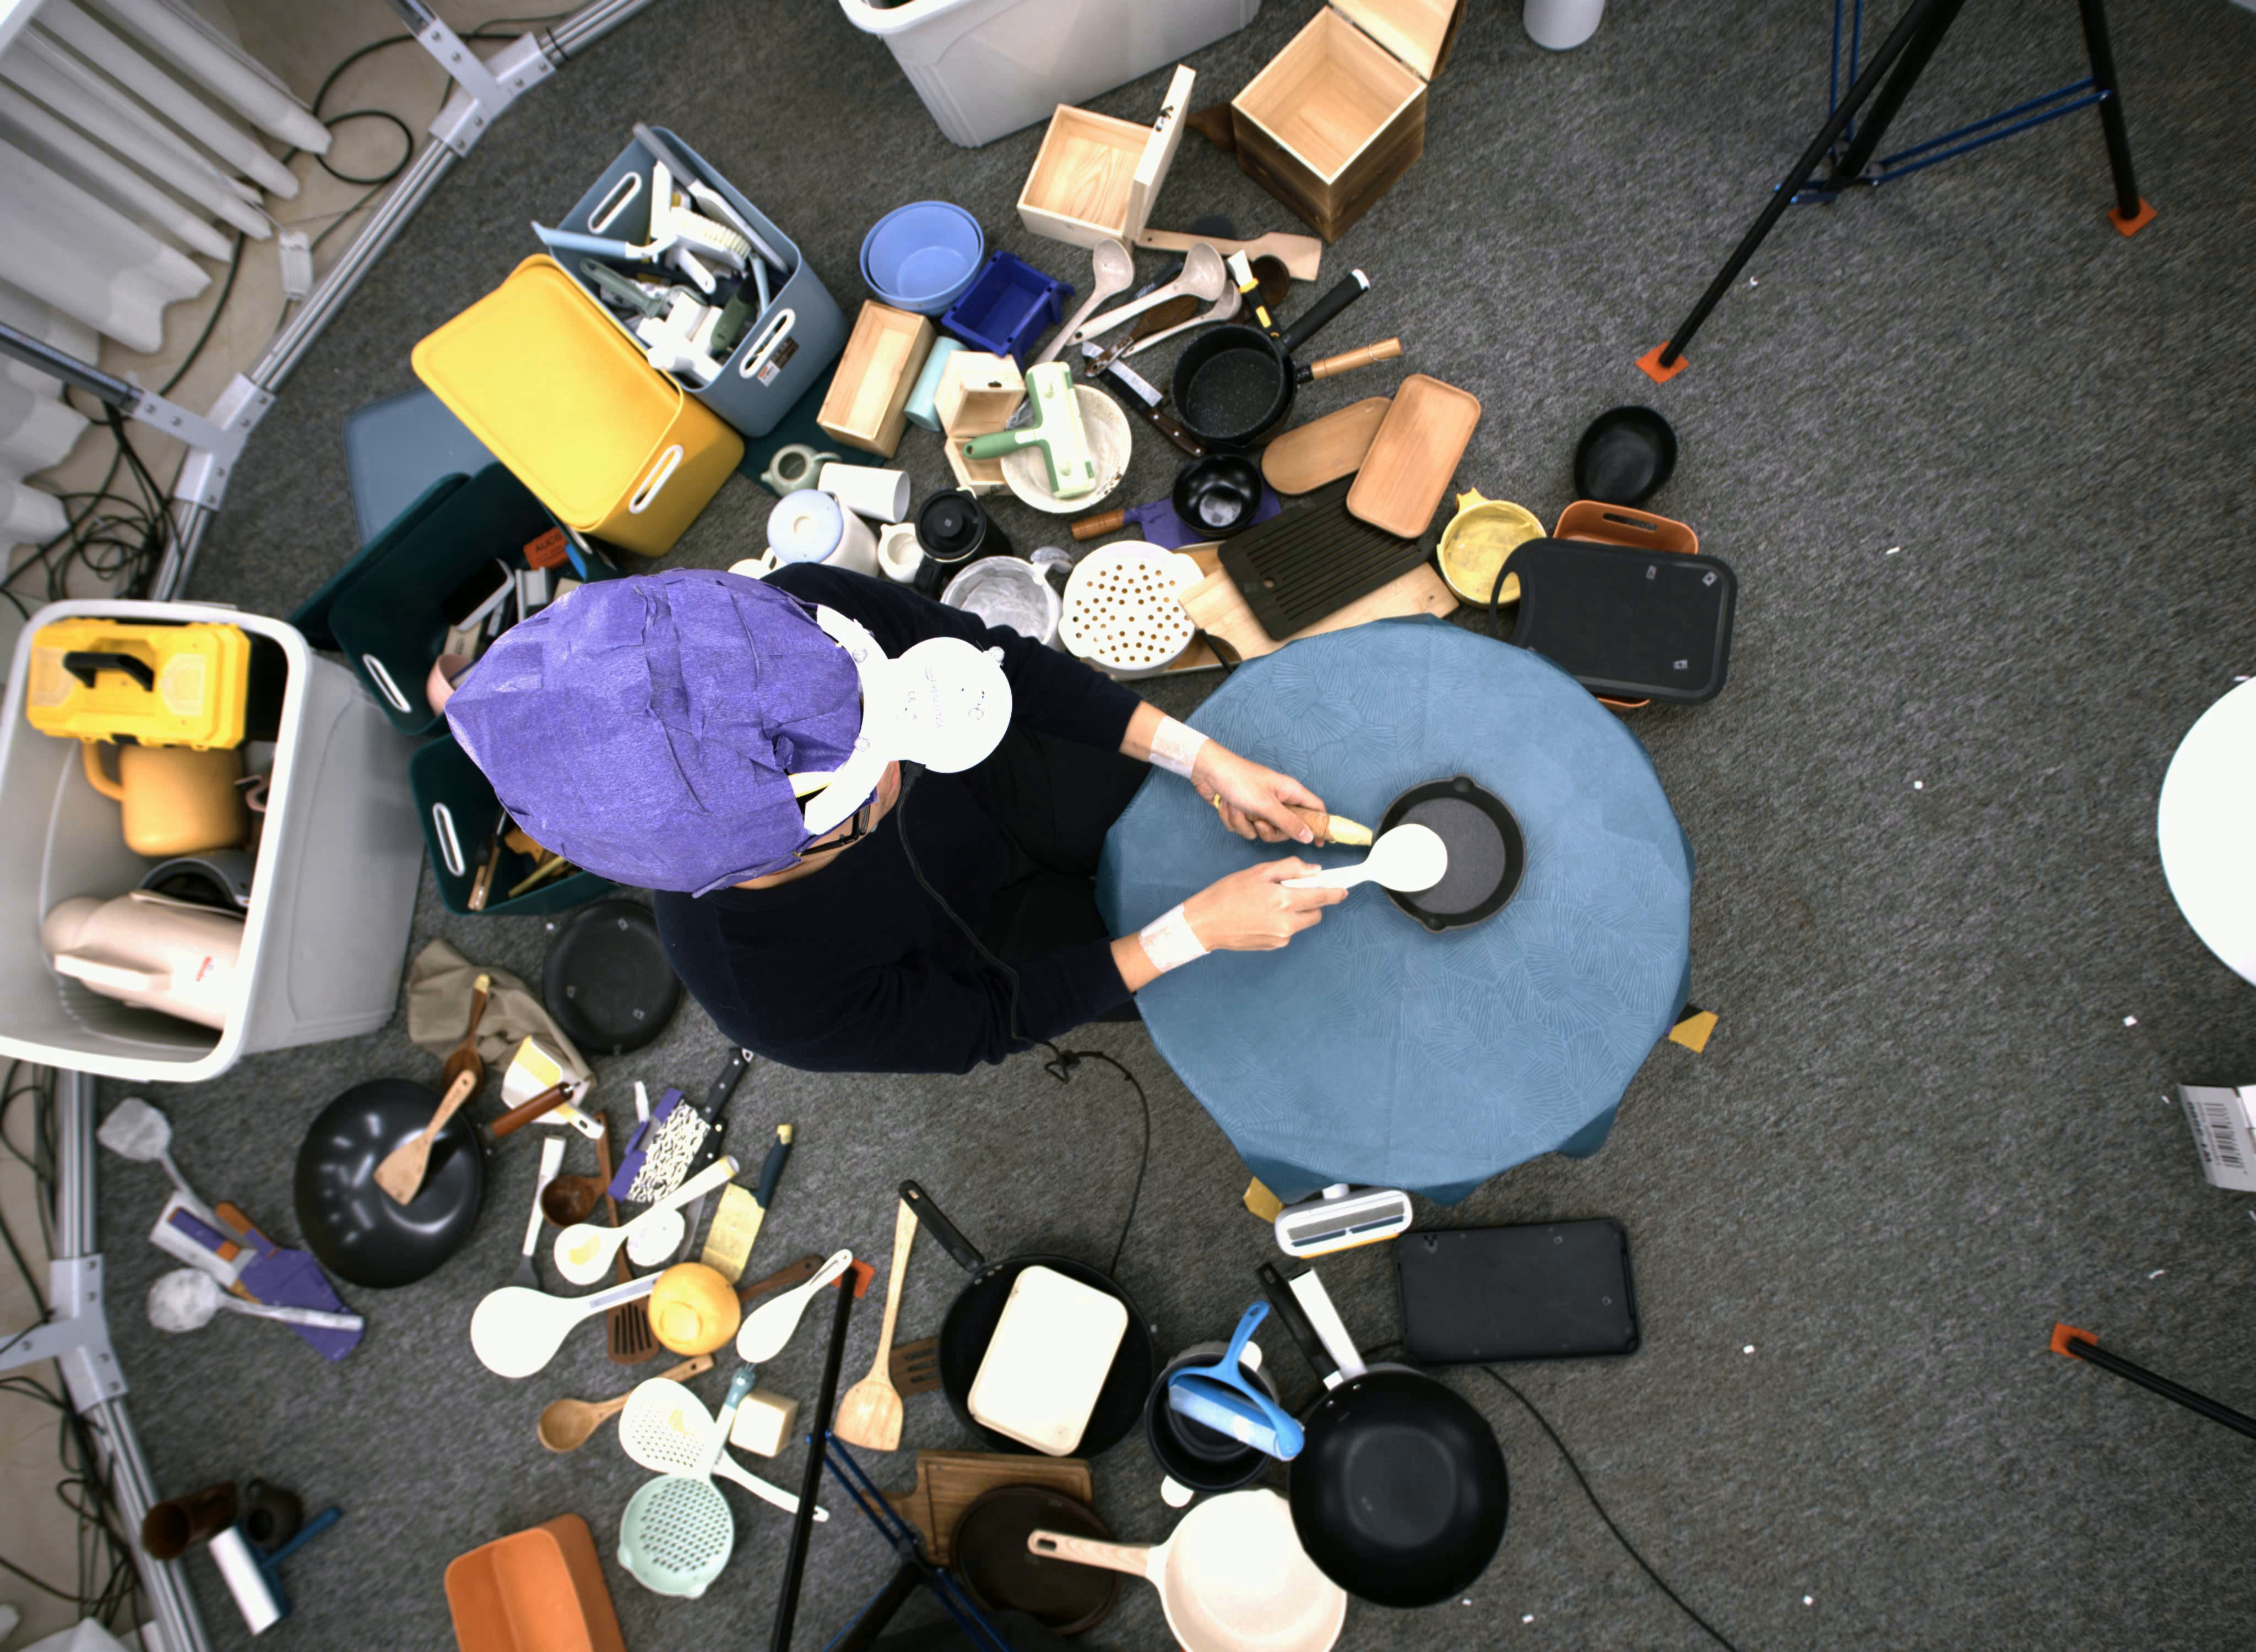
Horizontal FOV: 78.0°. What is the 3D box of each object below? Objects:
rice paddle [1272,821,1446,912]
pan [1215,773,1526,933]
[{"bbox_3d":[0.239,0.042,1.387,0.203,0.030,0.068,-16,83,-22],"label":"rice paddle"},{"bbox_3d":[0.249,0.006,1.428,0.324,0.050,0.168,14,87,5],"label":"pan"}]
